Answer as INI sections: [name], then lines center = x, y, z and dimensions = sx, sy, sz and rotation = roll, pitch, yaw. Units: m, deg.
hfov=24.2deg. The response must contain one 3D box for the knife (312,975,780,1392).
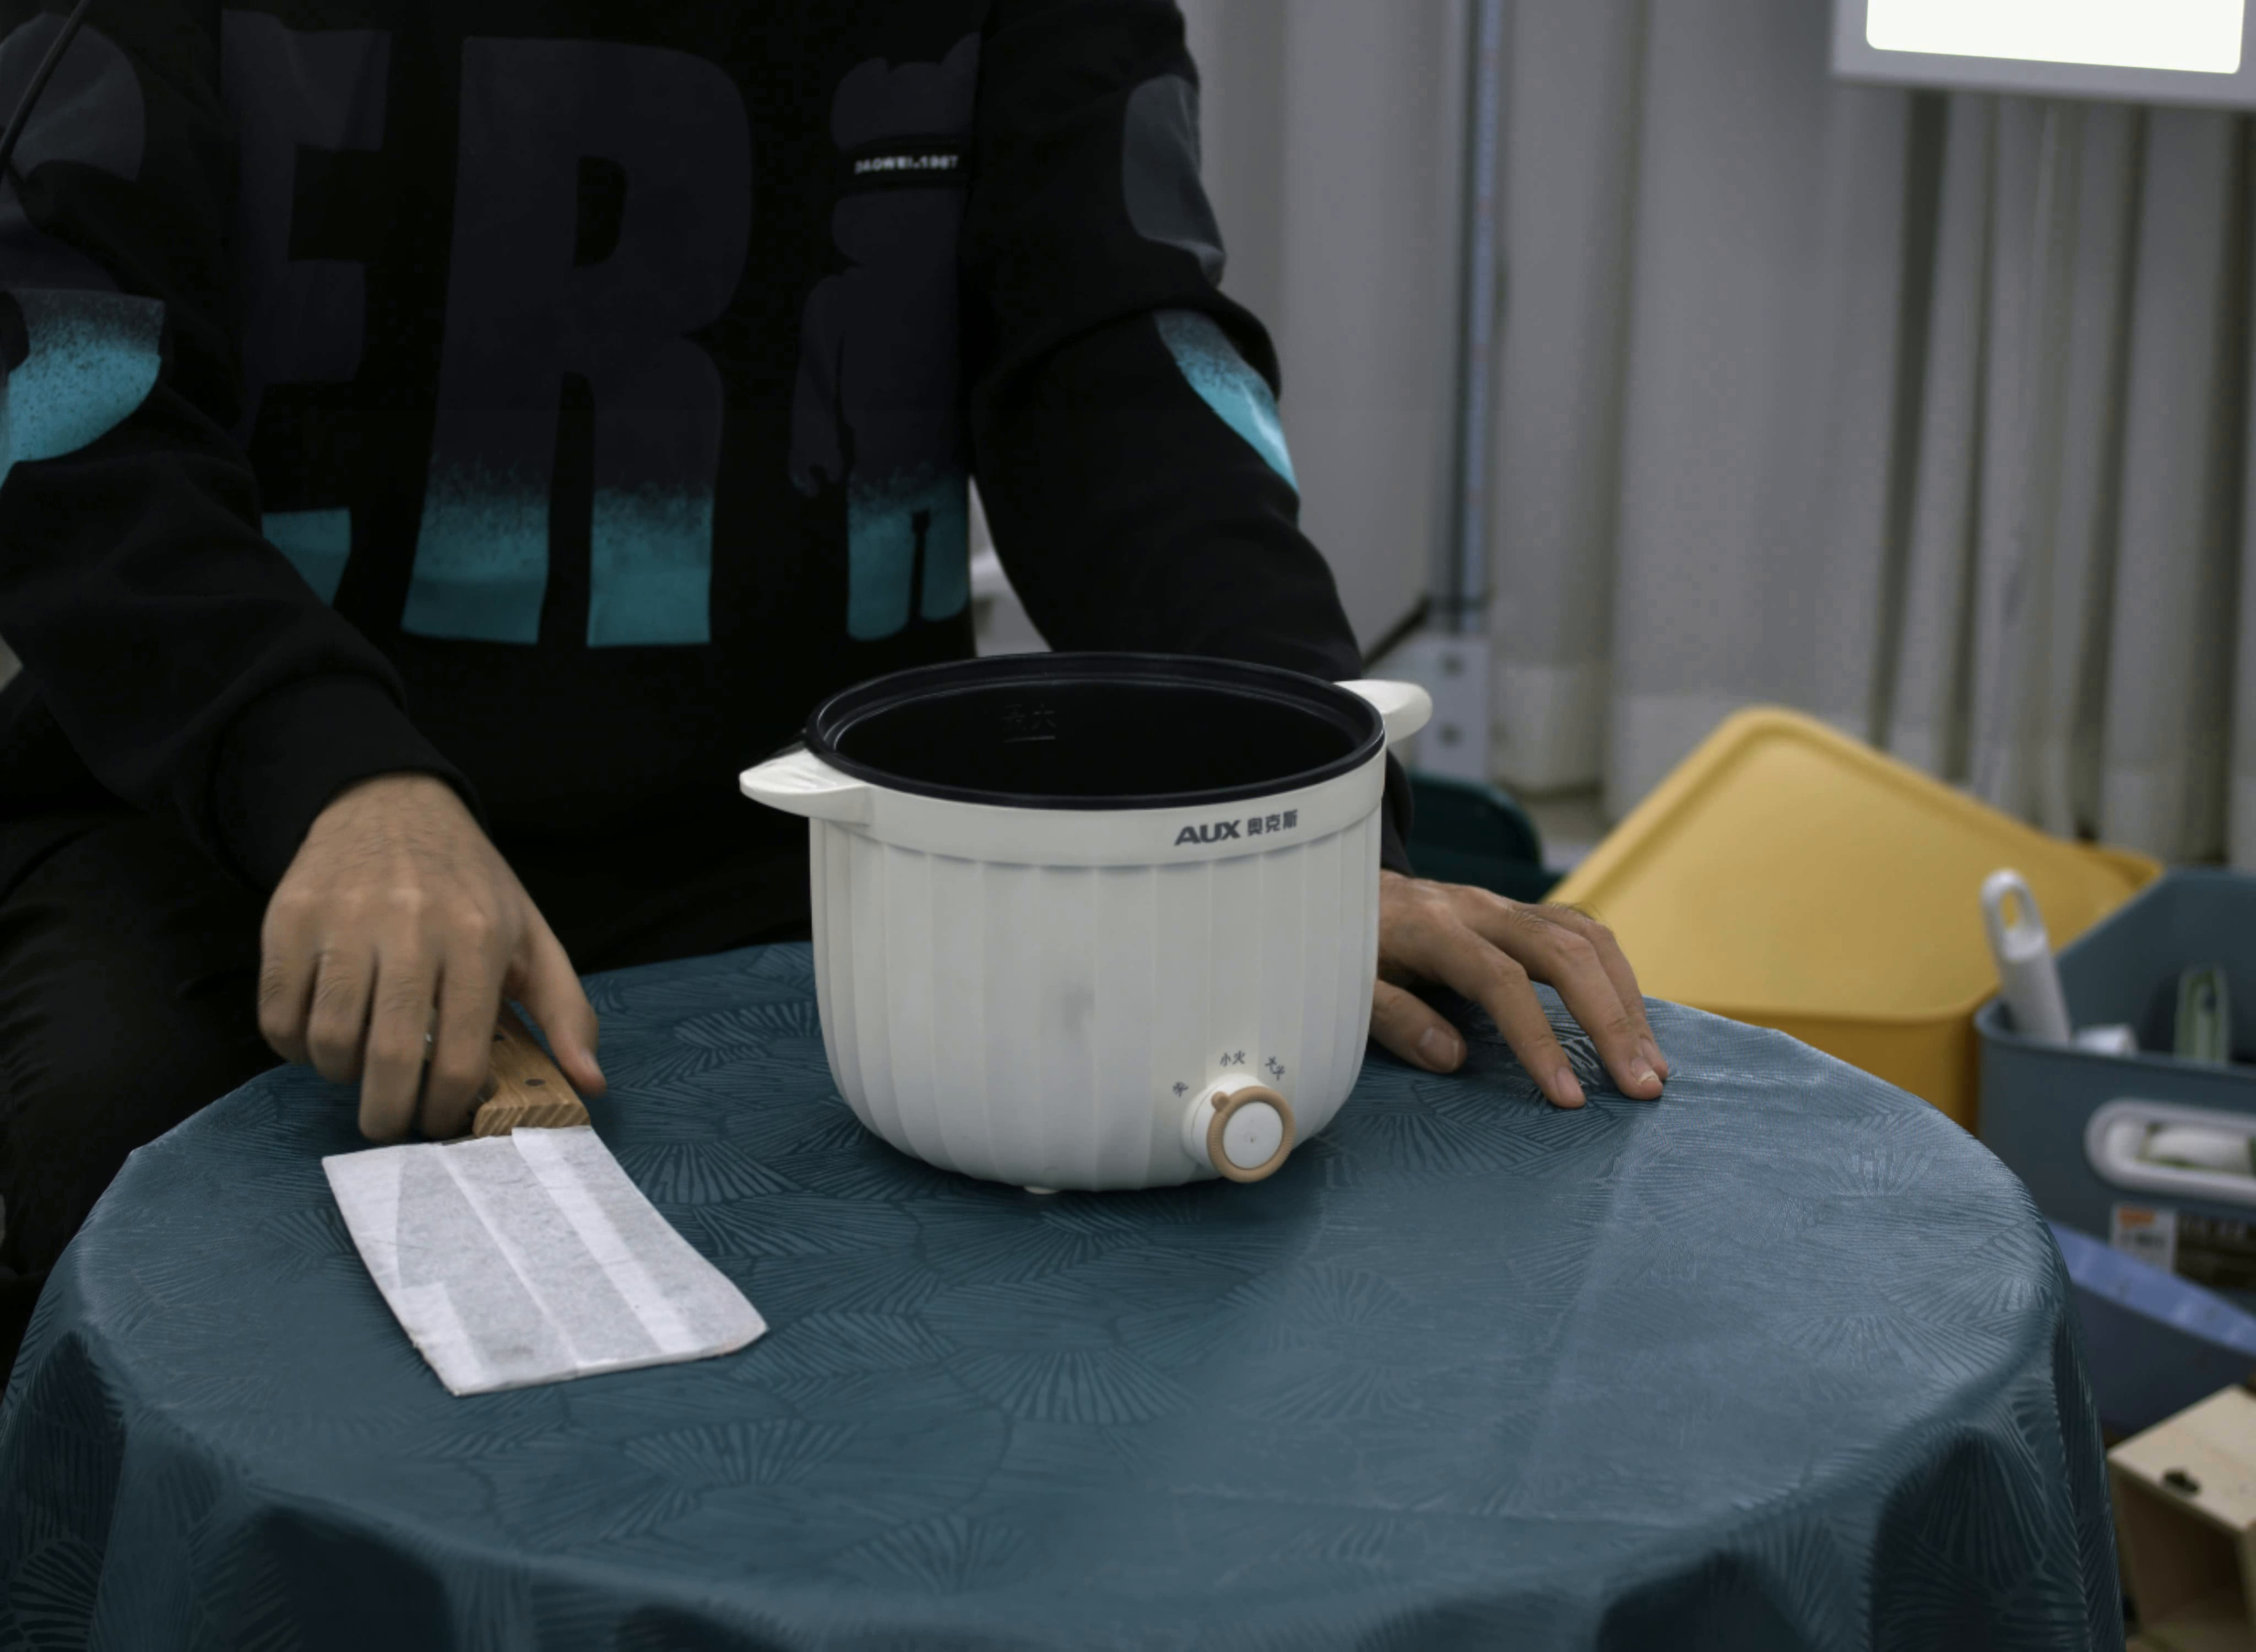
[knife]
center = -0.189, 0.106, 1.606
dimensions = 0.114, 0.022, 0.312
rotation = -4, 19, -16

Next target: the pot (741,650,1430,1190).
[pot]
center = -0.006, 0.031, 1.652
dimensions = 0.241, 0.144, 0.188
rotation = -10, 15, -28
